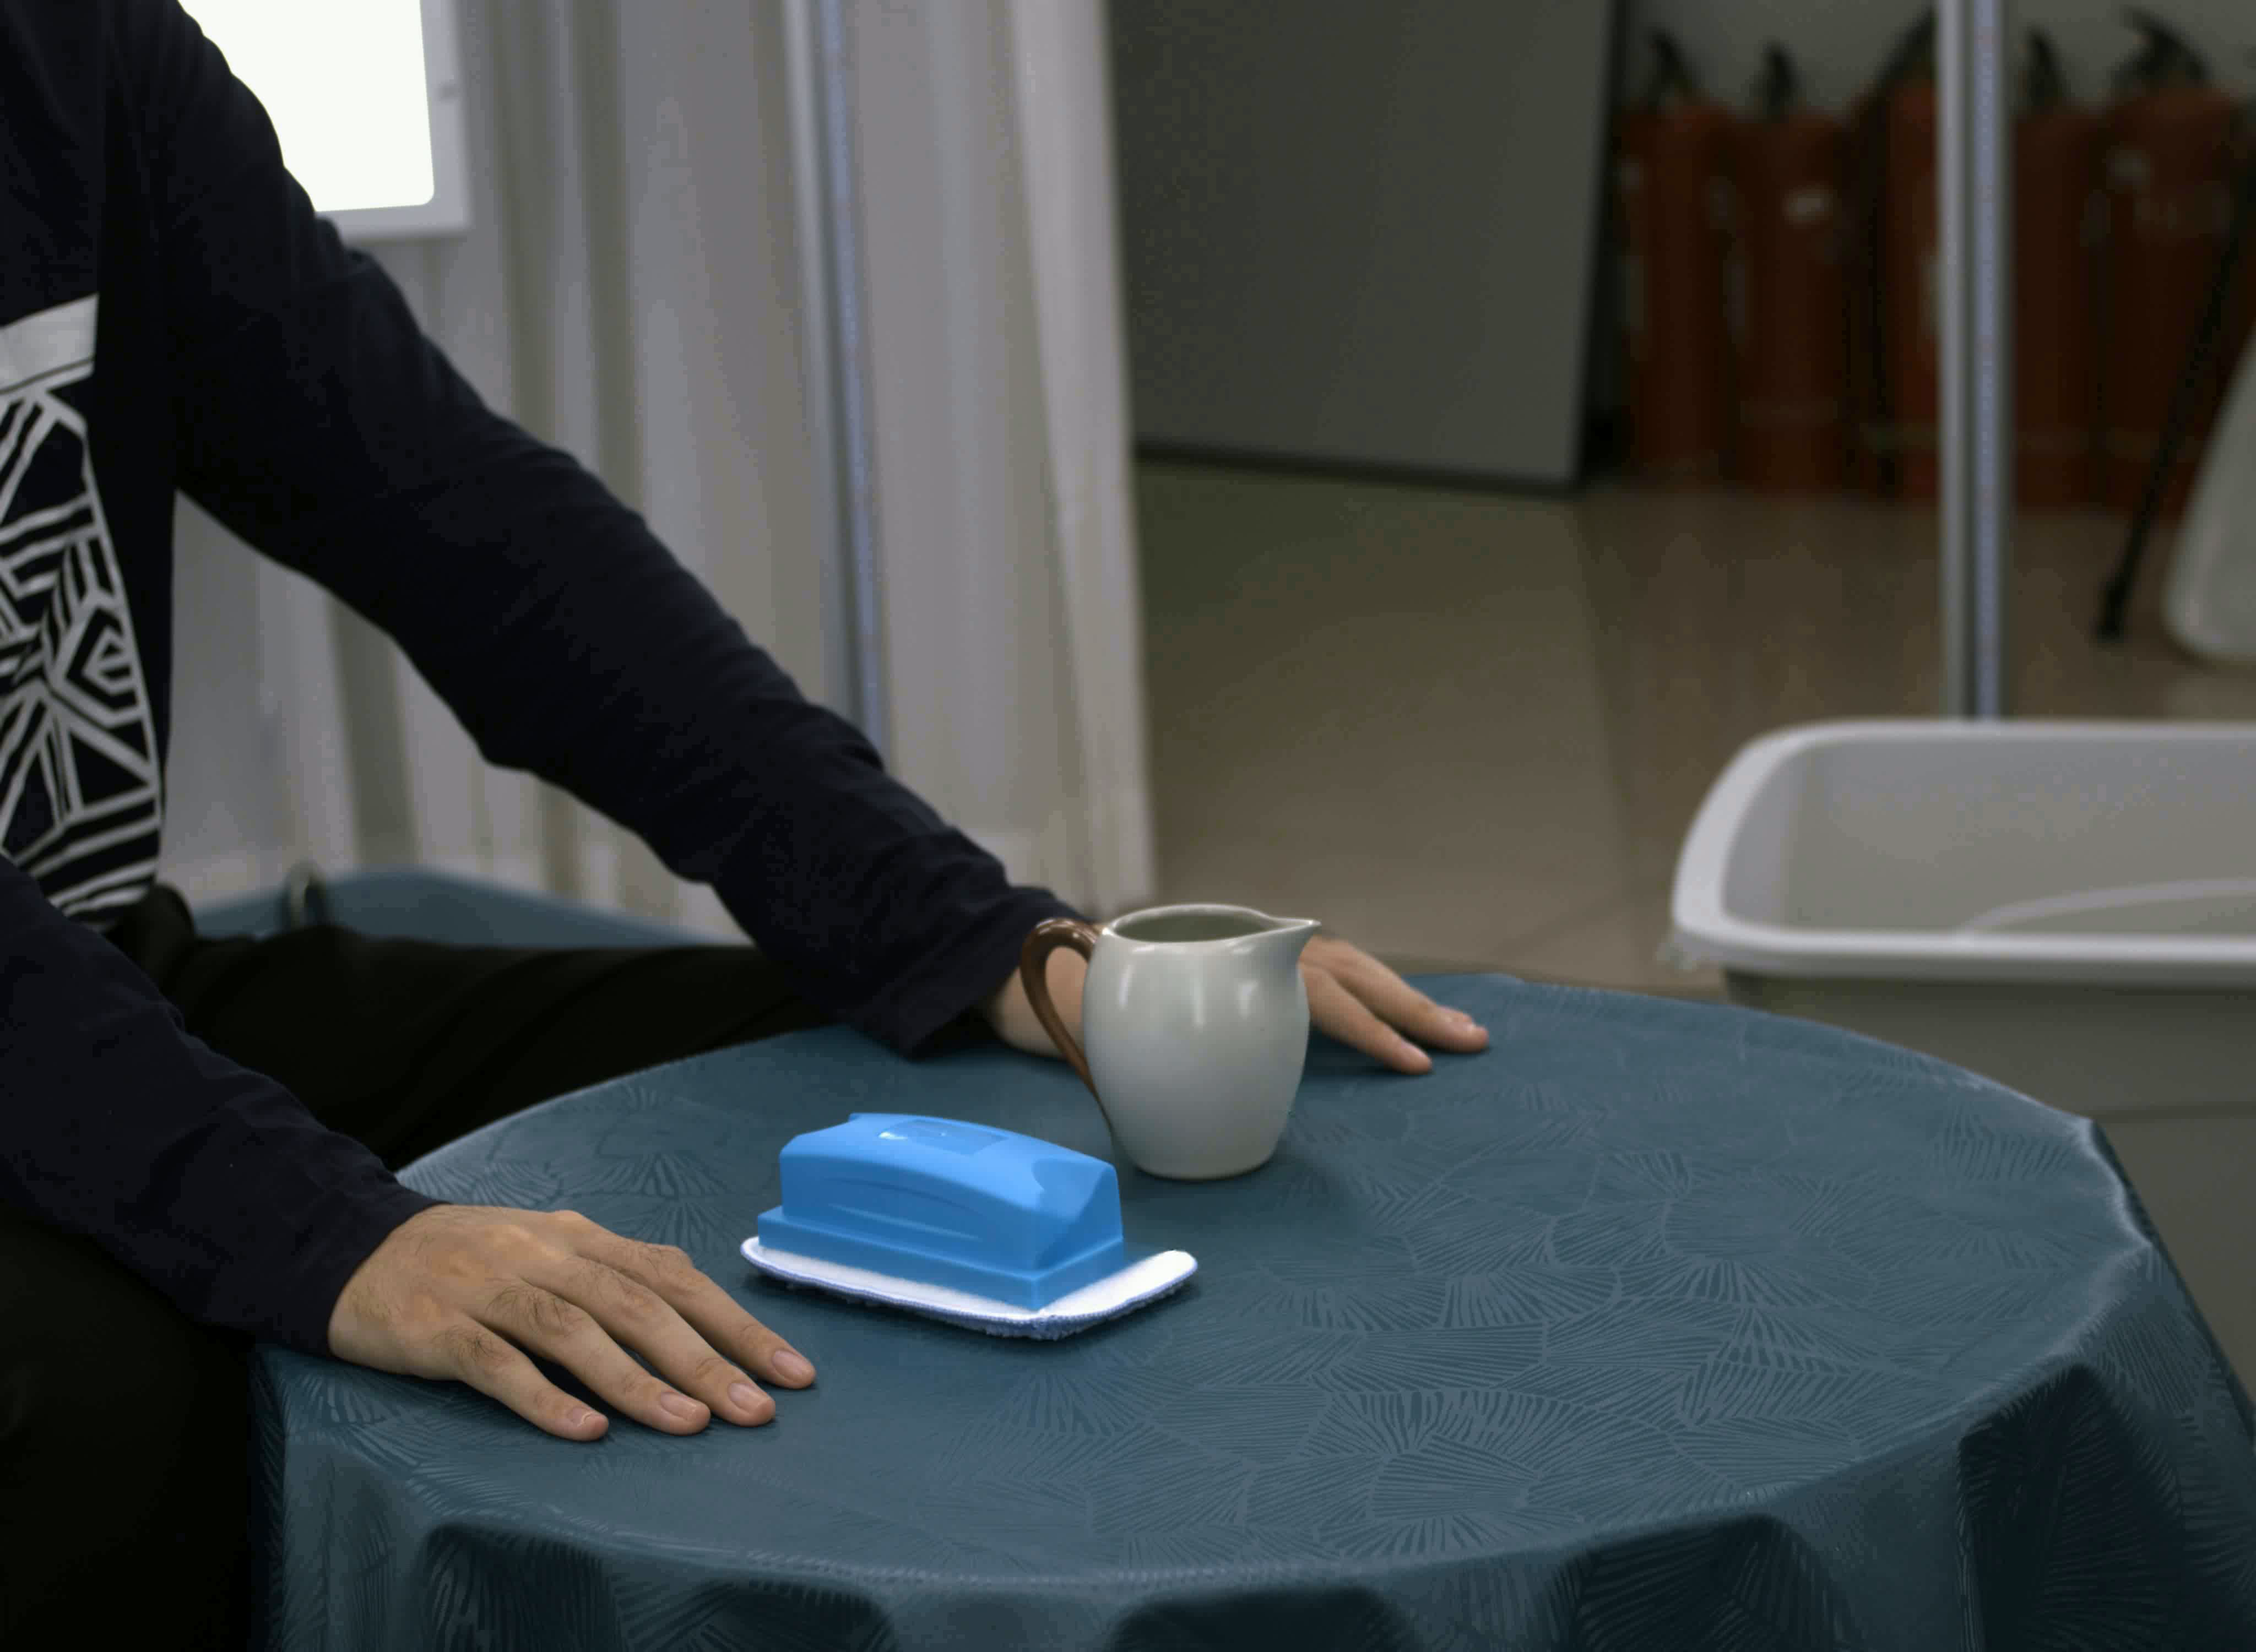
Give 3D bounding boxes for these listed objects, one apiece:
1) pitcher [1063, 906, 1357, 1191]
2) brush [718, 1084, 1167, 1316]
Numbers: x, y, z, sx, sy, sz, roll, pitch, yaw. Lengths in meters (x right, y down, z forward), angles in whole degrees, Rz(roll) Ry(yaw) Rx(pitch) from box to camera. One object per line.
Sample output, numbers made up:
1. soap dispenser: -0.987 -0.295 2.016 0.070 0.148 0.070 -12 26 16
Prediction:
1. pitcher: 0.025 0.071 1.789 0.120 0.089 0.074 12 15 37
2. brush: -0.058 0.115 1.691 0.145 0.056 0.082 12 18 43
